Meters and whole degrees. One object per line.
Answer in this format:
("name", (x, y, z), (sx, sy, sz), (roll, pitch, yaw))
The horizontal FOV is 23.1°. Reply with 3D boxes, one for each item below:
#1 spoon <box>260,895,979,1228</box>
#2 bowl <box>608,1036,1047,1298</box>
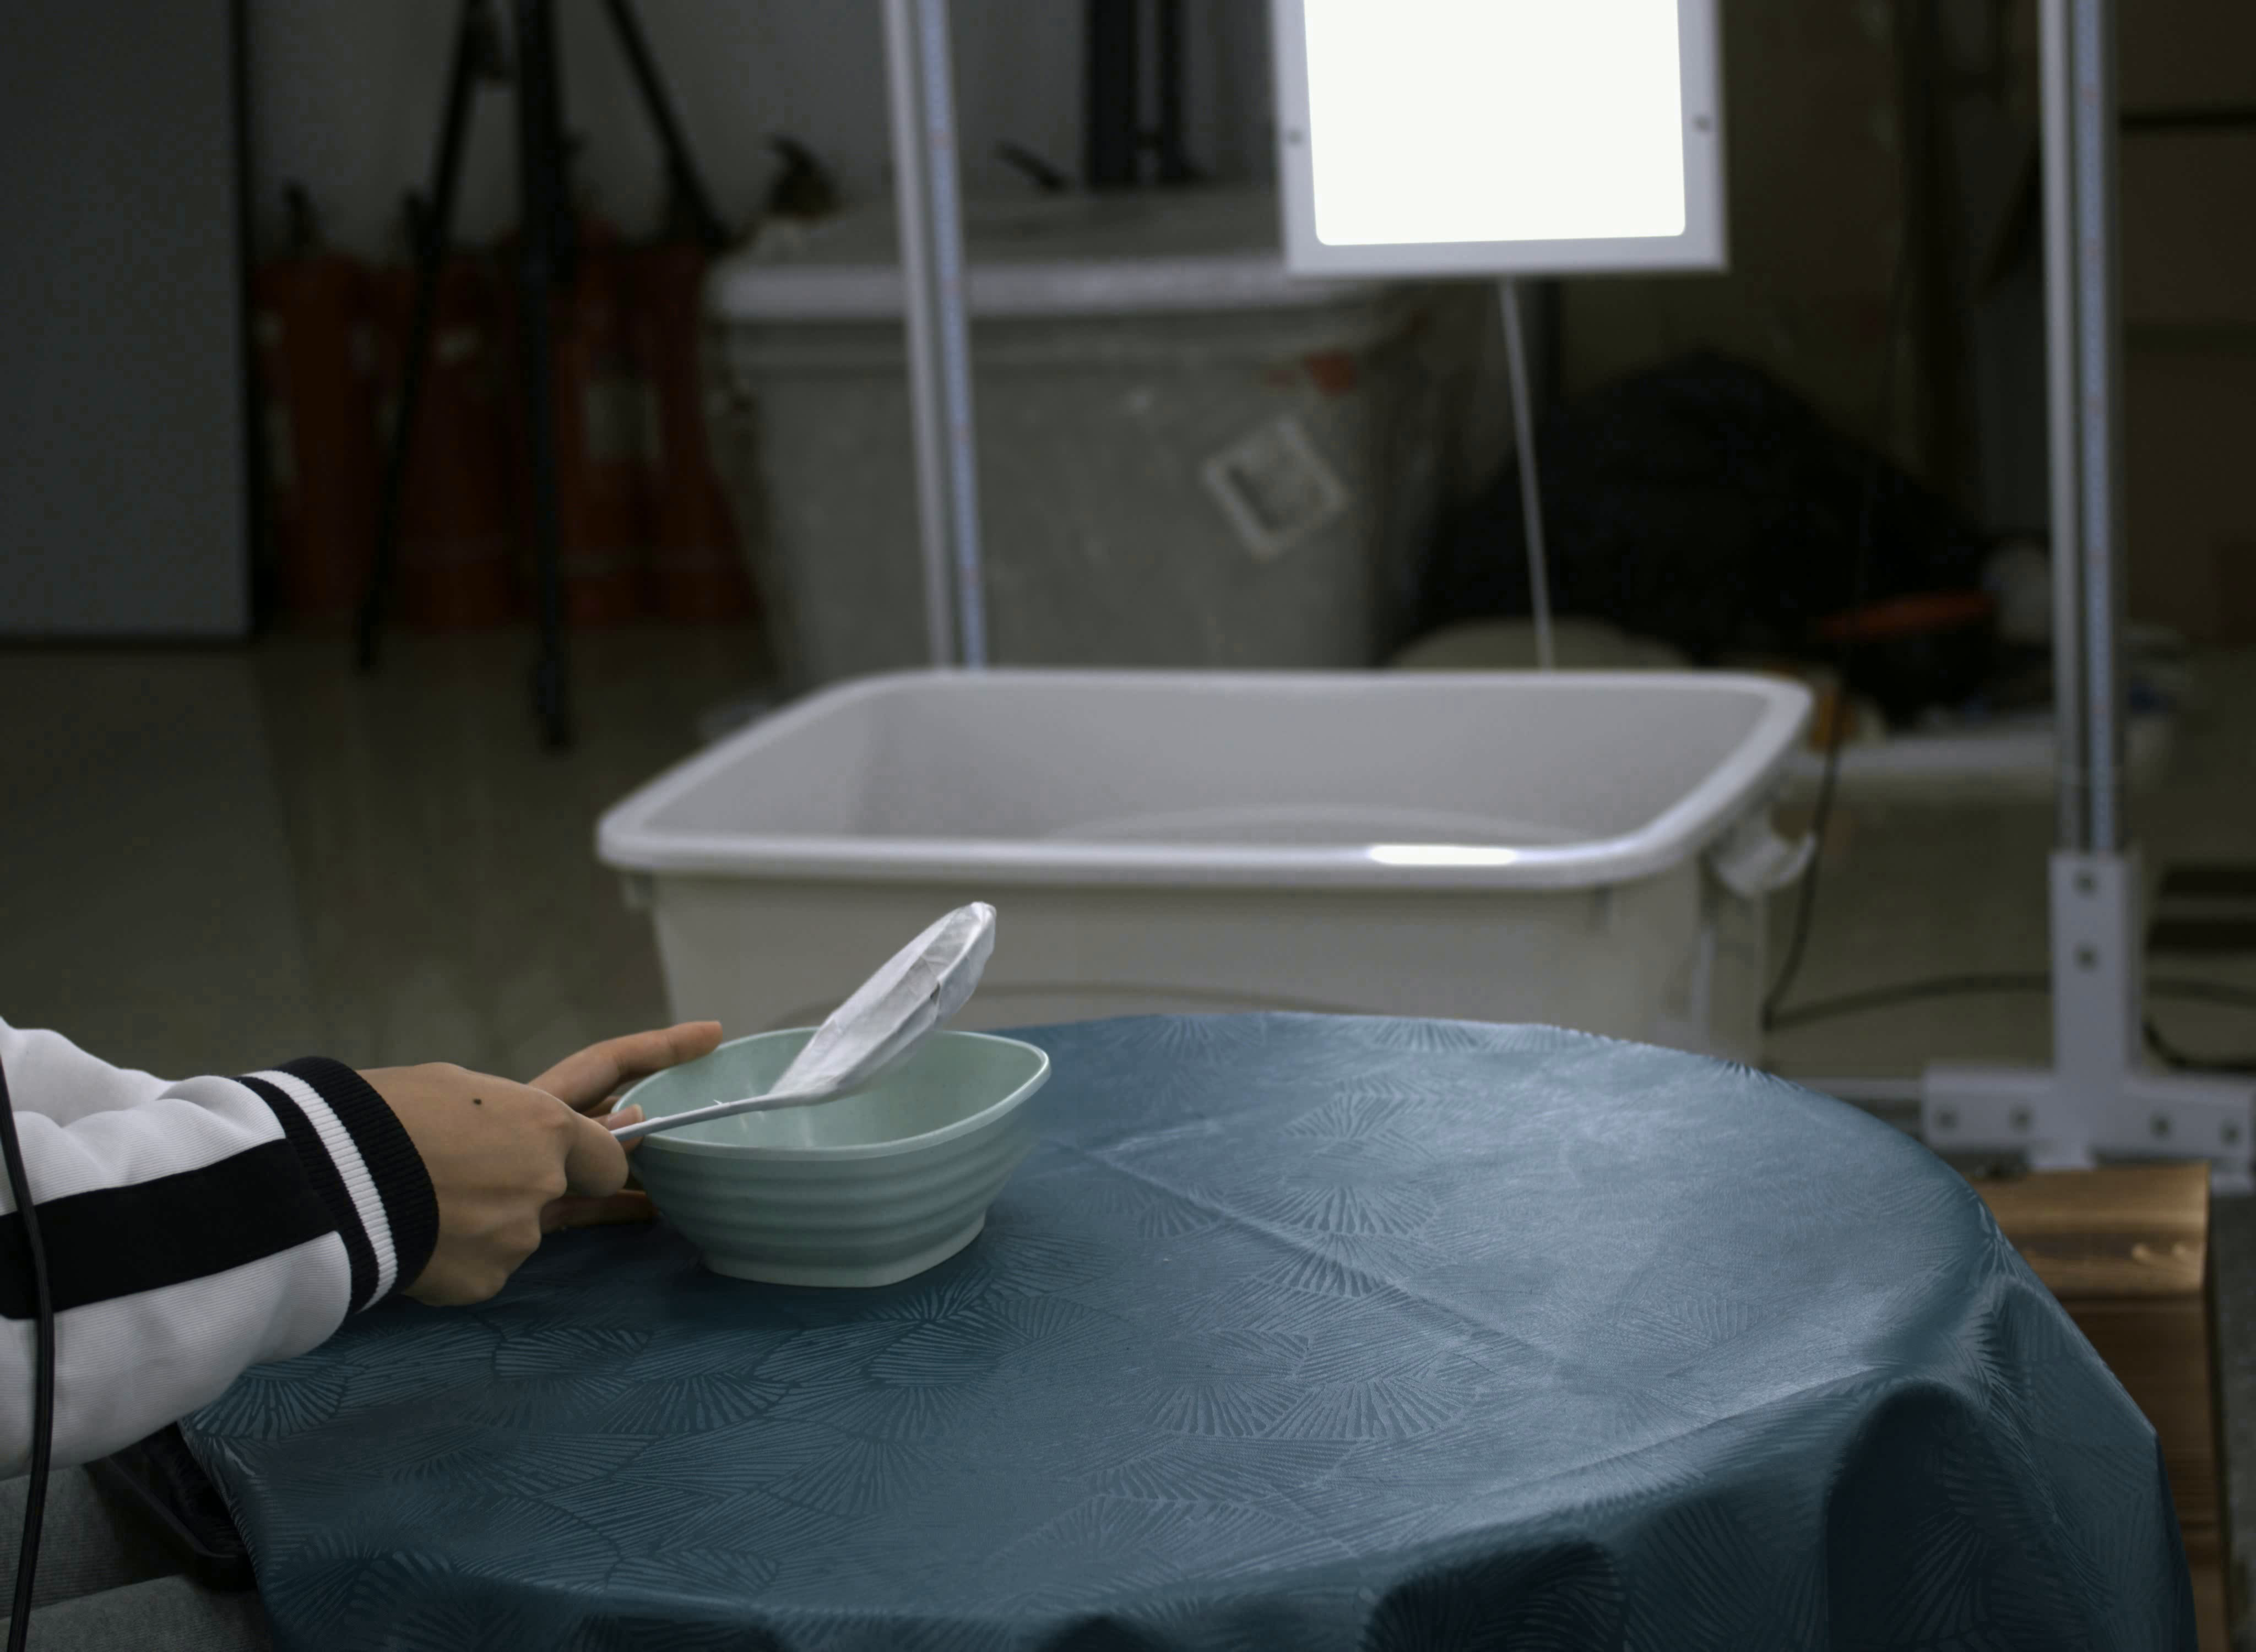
("spoon", (-0.163, 0.076, 1.777), (0.271, 0.059, 0.102), (-11, -17, -32))
("bowl", (-0.098, 0.118, 1.861), (0.151, 0.059, 0.151), (-5, 14, 0))
